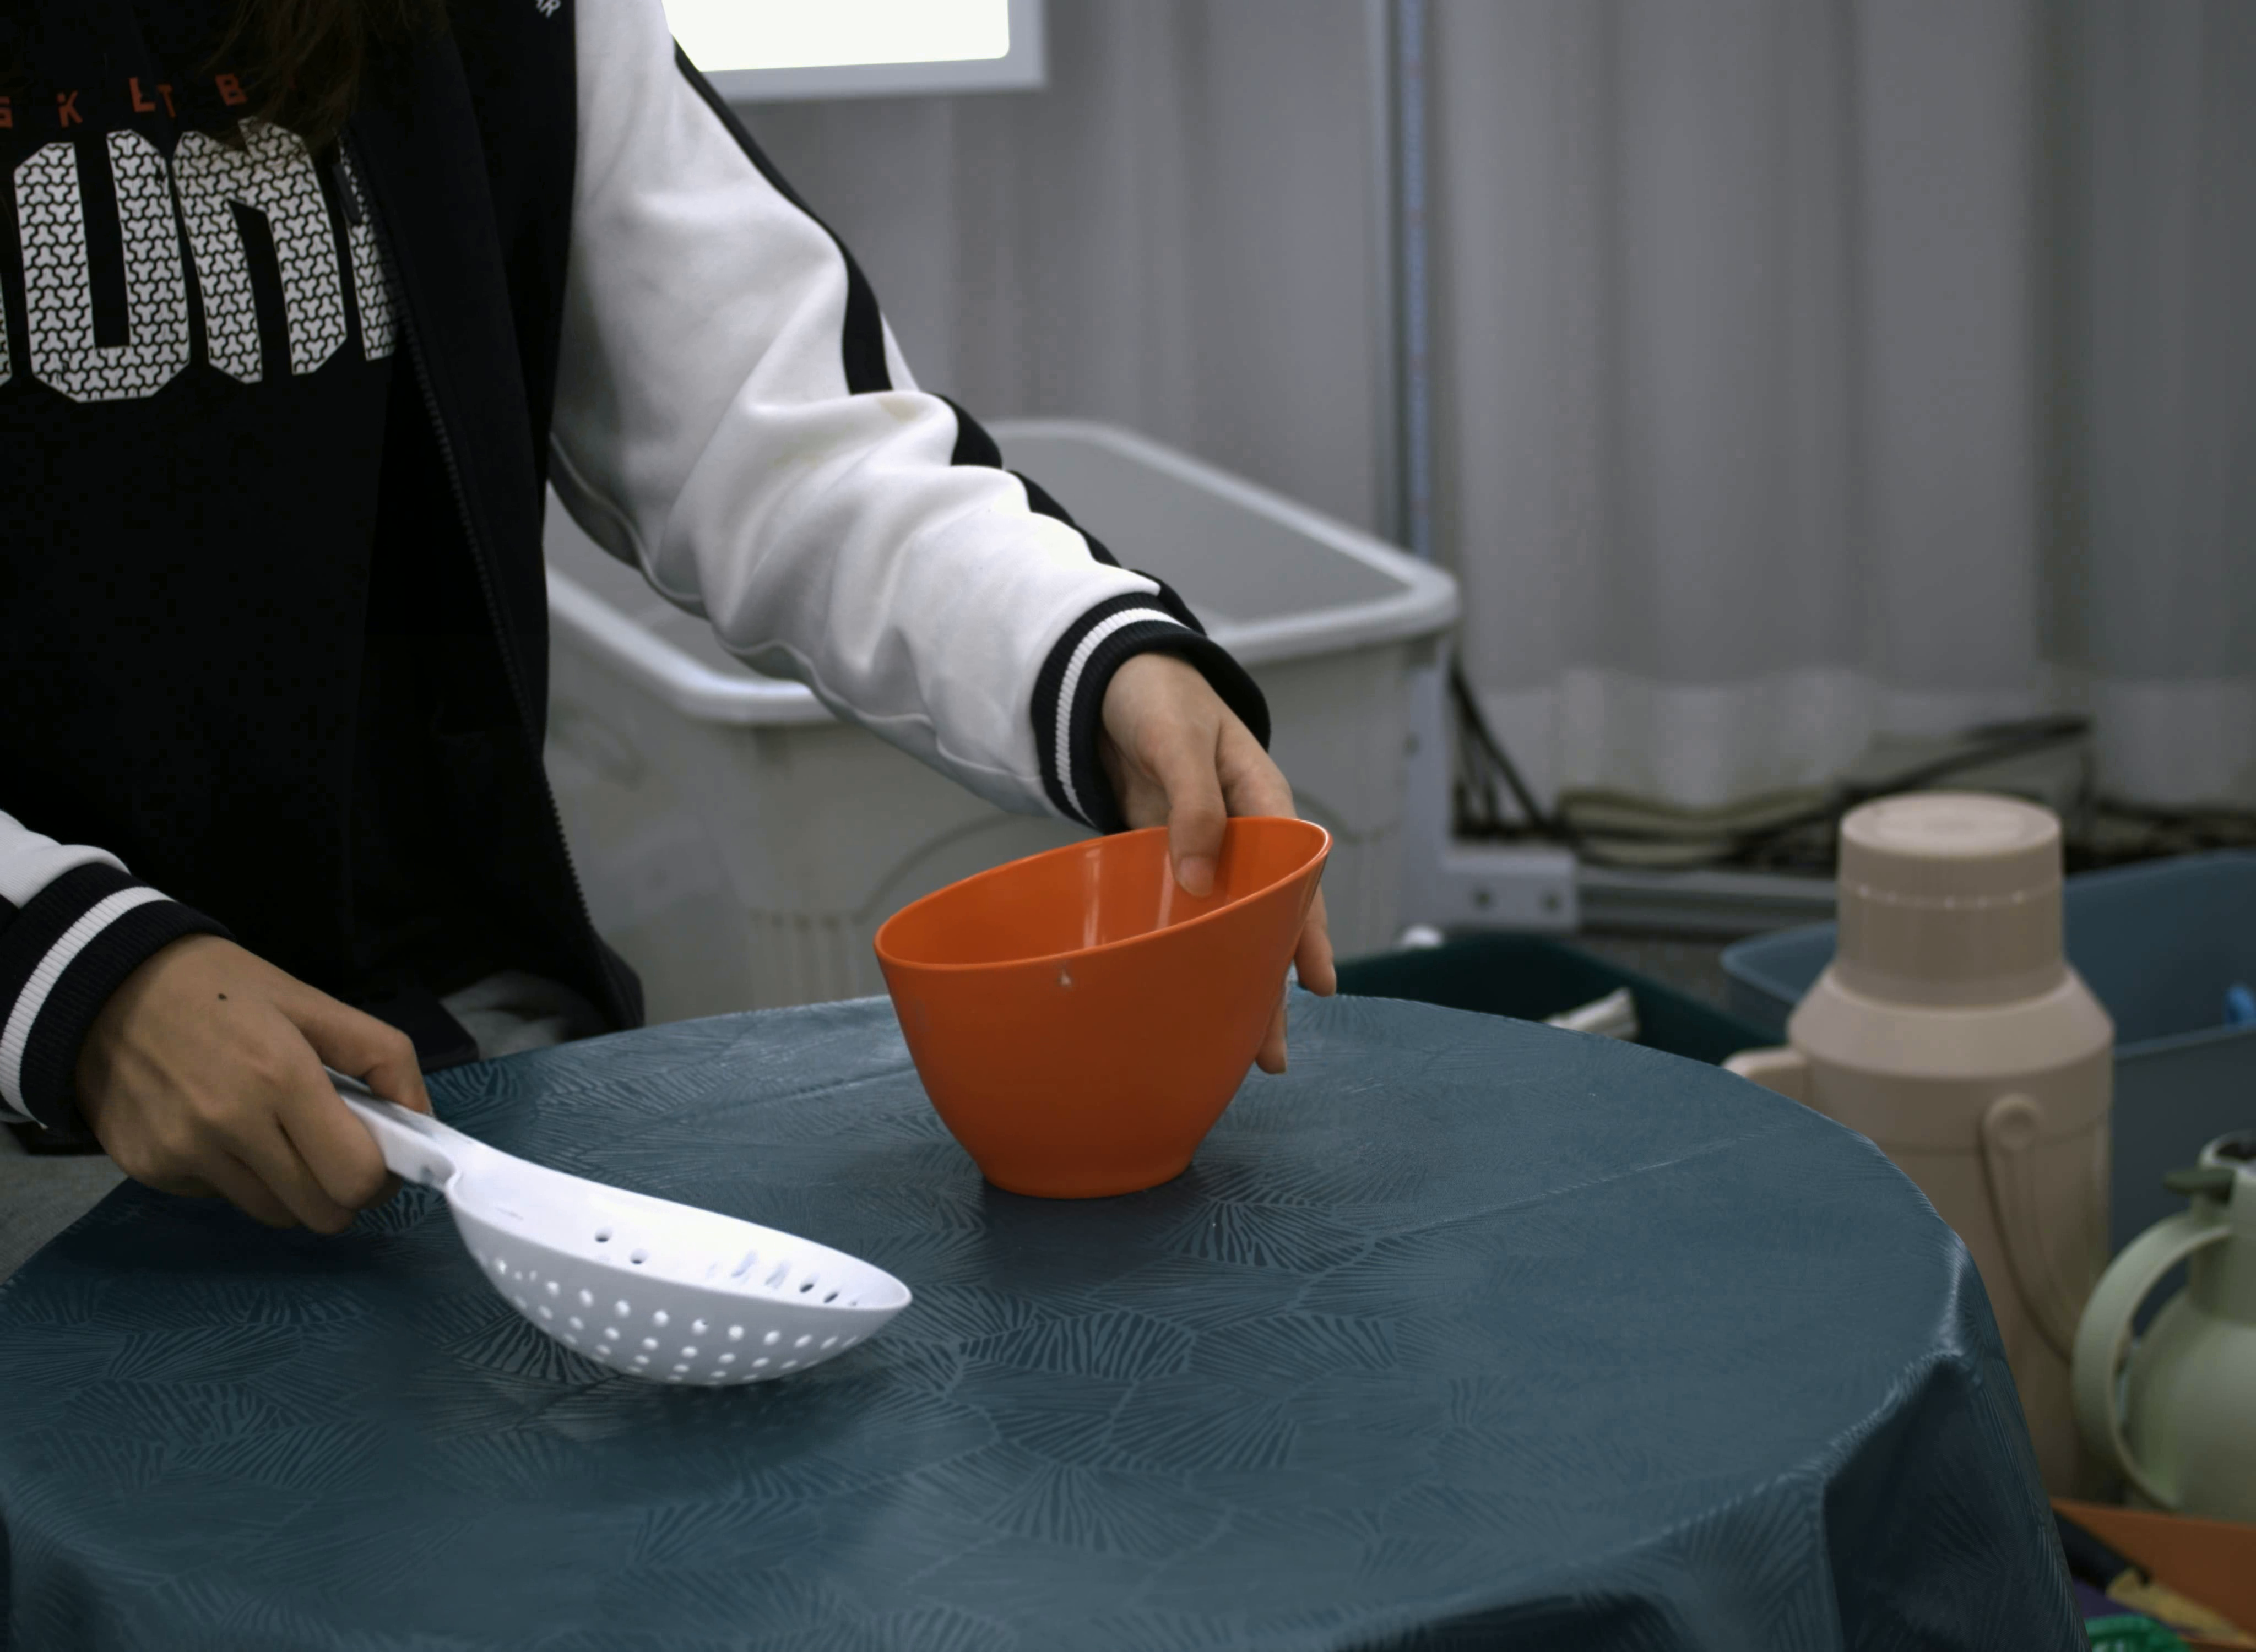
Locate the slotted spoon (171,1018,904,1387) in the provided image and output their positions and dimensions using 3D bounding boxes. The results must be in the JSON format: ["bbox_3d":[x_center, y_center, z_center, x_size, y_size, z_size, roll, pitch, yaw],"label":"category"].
[{"bbox_3d":[-0.197,0.105,1.645,0.135,0.046,0.353,11,9,-39],"label":"slotted spoon"}]

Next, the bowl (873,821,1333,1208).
[{"bbox_3d":[-0.005,0.061,1.725,0.147,0.104,0.149,-5,15,1],"label":"bowl"}]
